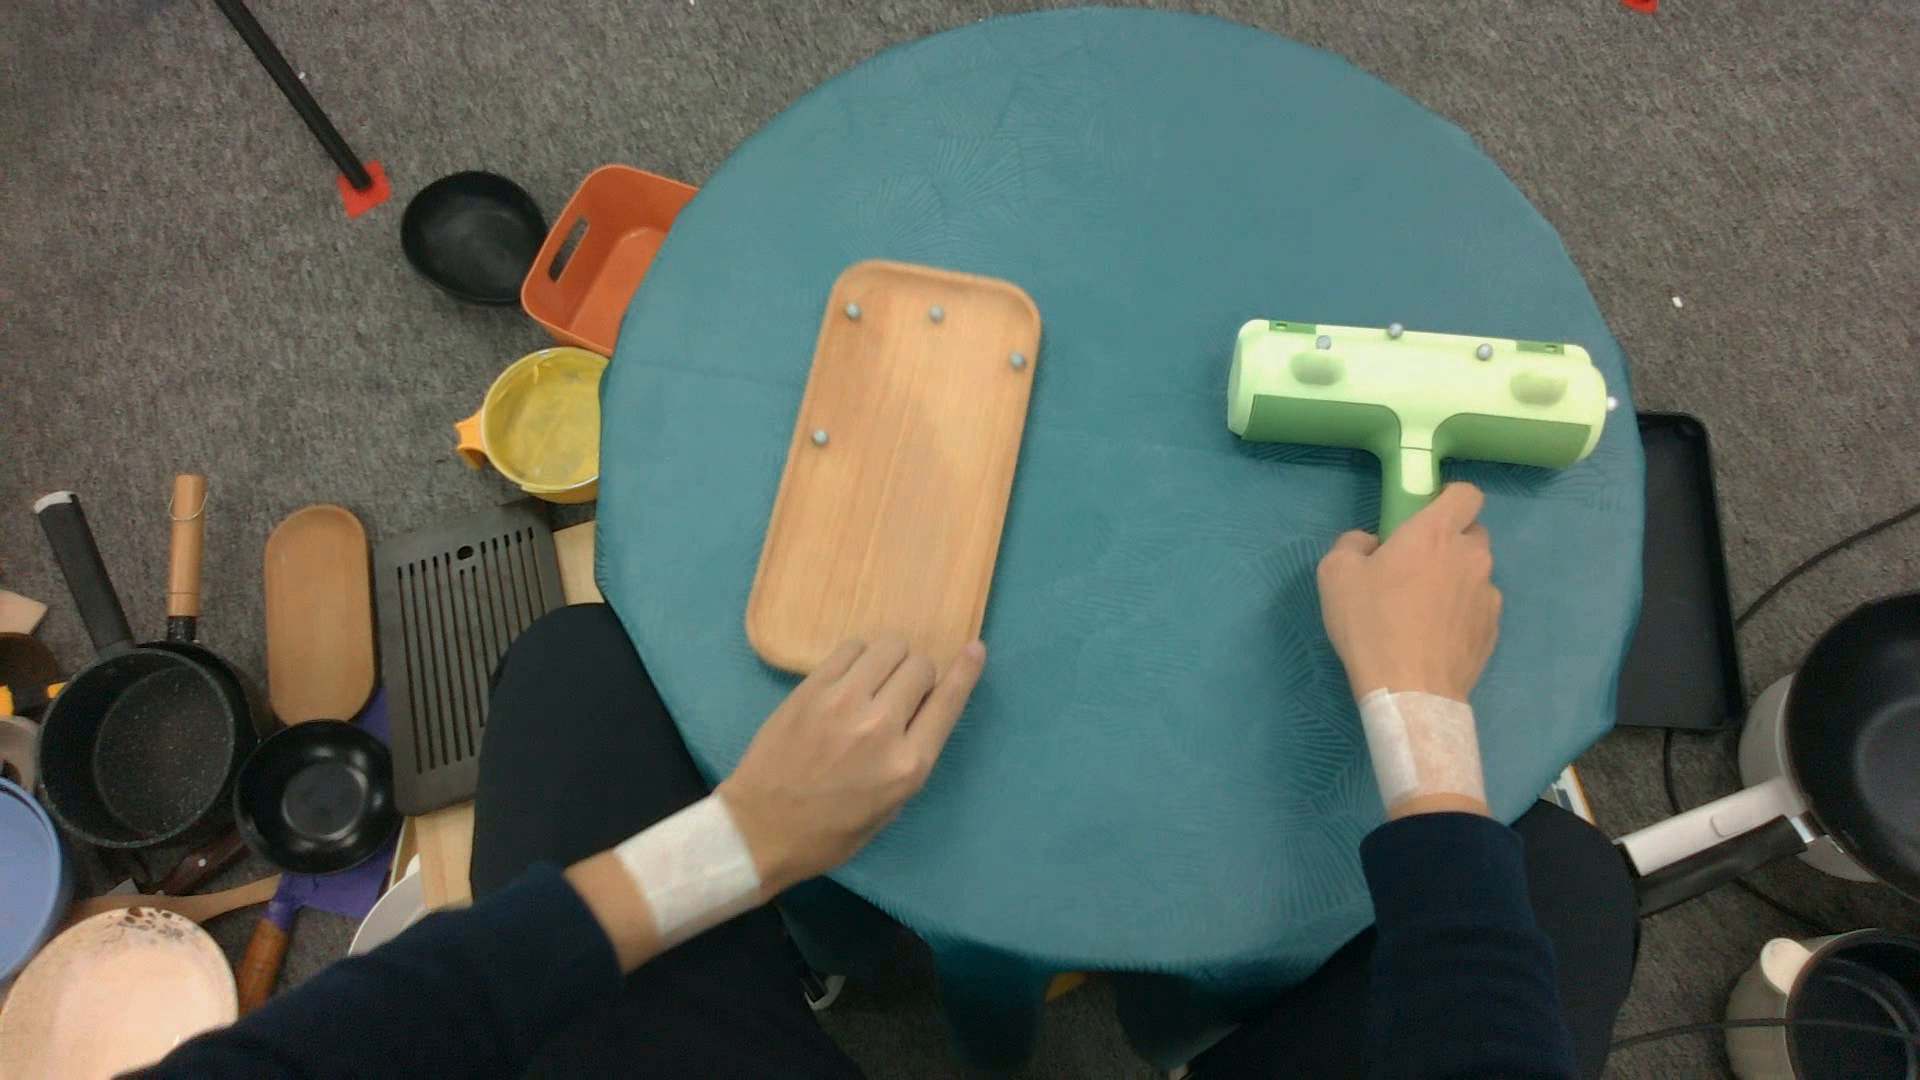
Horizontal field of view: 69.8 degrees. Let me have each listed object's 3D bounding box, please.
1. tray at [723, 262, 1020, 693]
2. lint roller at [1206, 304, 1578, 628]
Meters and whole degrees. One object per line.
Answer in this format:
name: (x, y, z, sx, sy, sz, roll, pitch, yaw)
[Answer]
tray: (-0.045, -0.040, 0.771, 0.130, 0.023, 0.251, 10, 70, 6)
lint roller: (0.234, -0.049, 0.733, 0.198, 0.082, 0.184, 3, 58, 2)
